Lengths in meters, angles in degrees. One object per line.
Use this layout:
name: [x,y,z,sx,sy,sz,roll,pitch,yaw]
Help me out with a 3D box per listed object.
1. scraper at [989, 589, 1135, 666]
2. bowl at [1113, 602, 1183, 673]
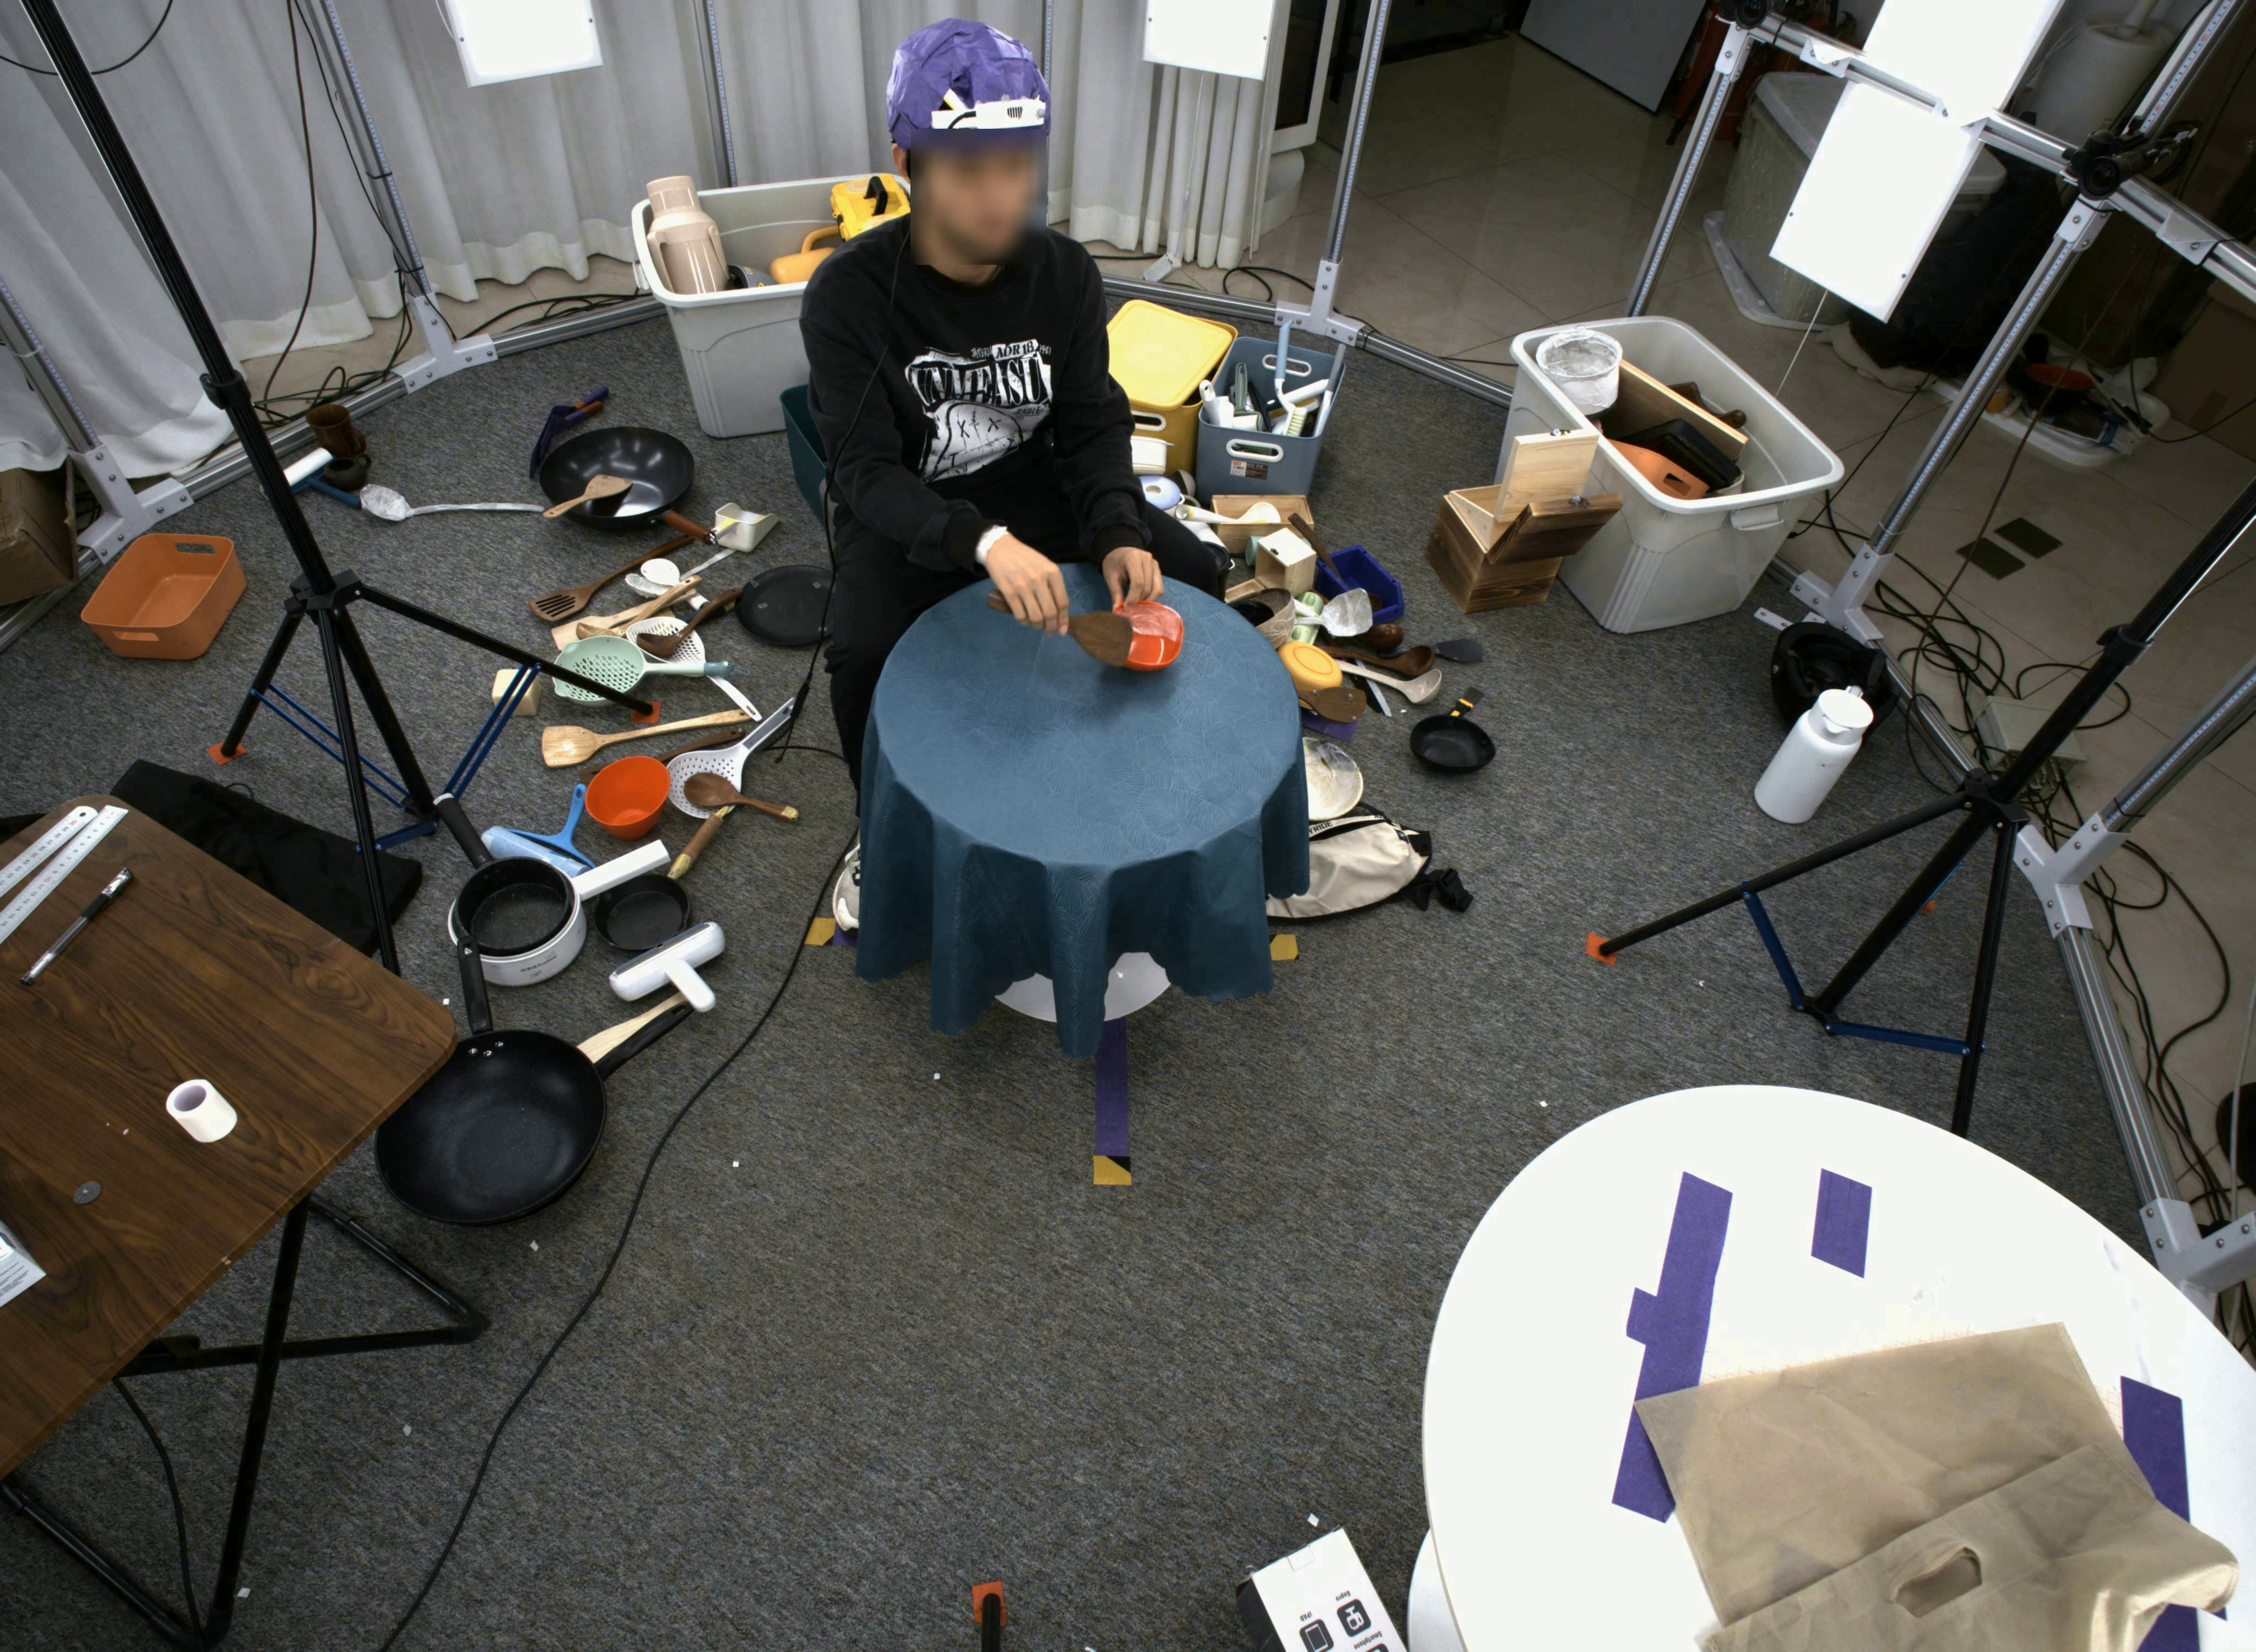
scraper: [-0.090,-0.284,1.776,0.210,0.011,0.076,16,78,-18]
bowl: [0.022,-0.265,1.869,0.118,0.050,0.121,3,63,-6]
